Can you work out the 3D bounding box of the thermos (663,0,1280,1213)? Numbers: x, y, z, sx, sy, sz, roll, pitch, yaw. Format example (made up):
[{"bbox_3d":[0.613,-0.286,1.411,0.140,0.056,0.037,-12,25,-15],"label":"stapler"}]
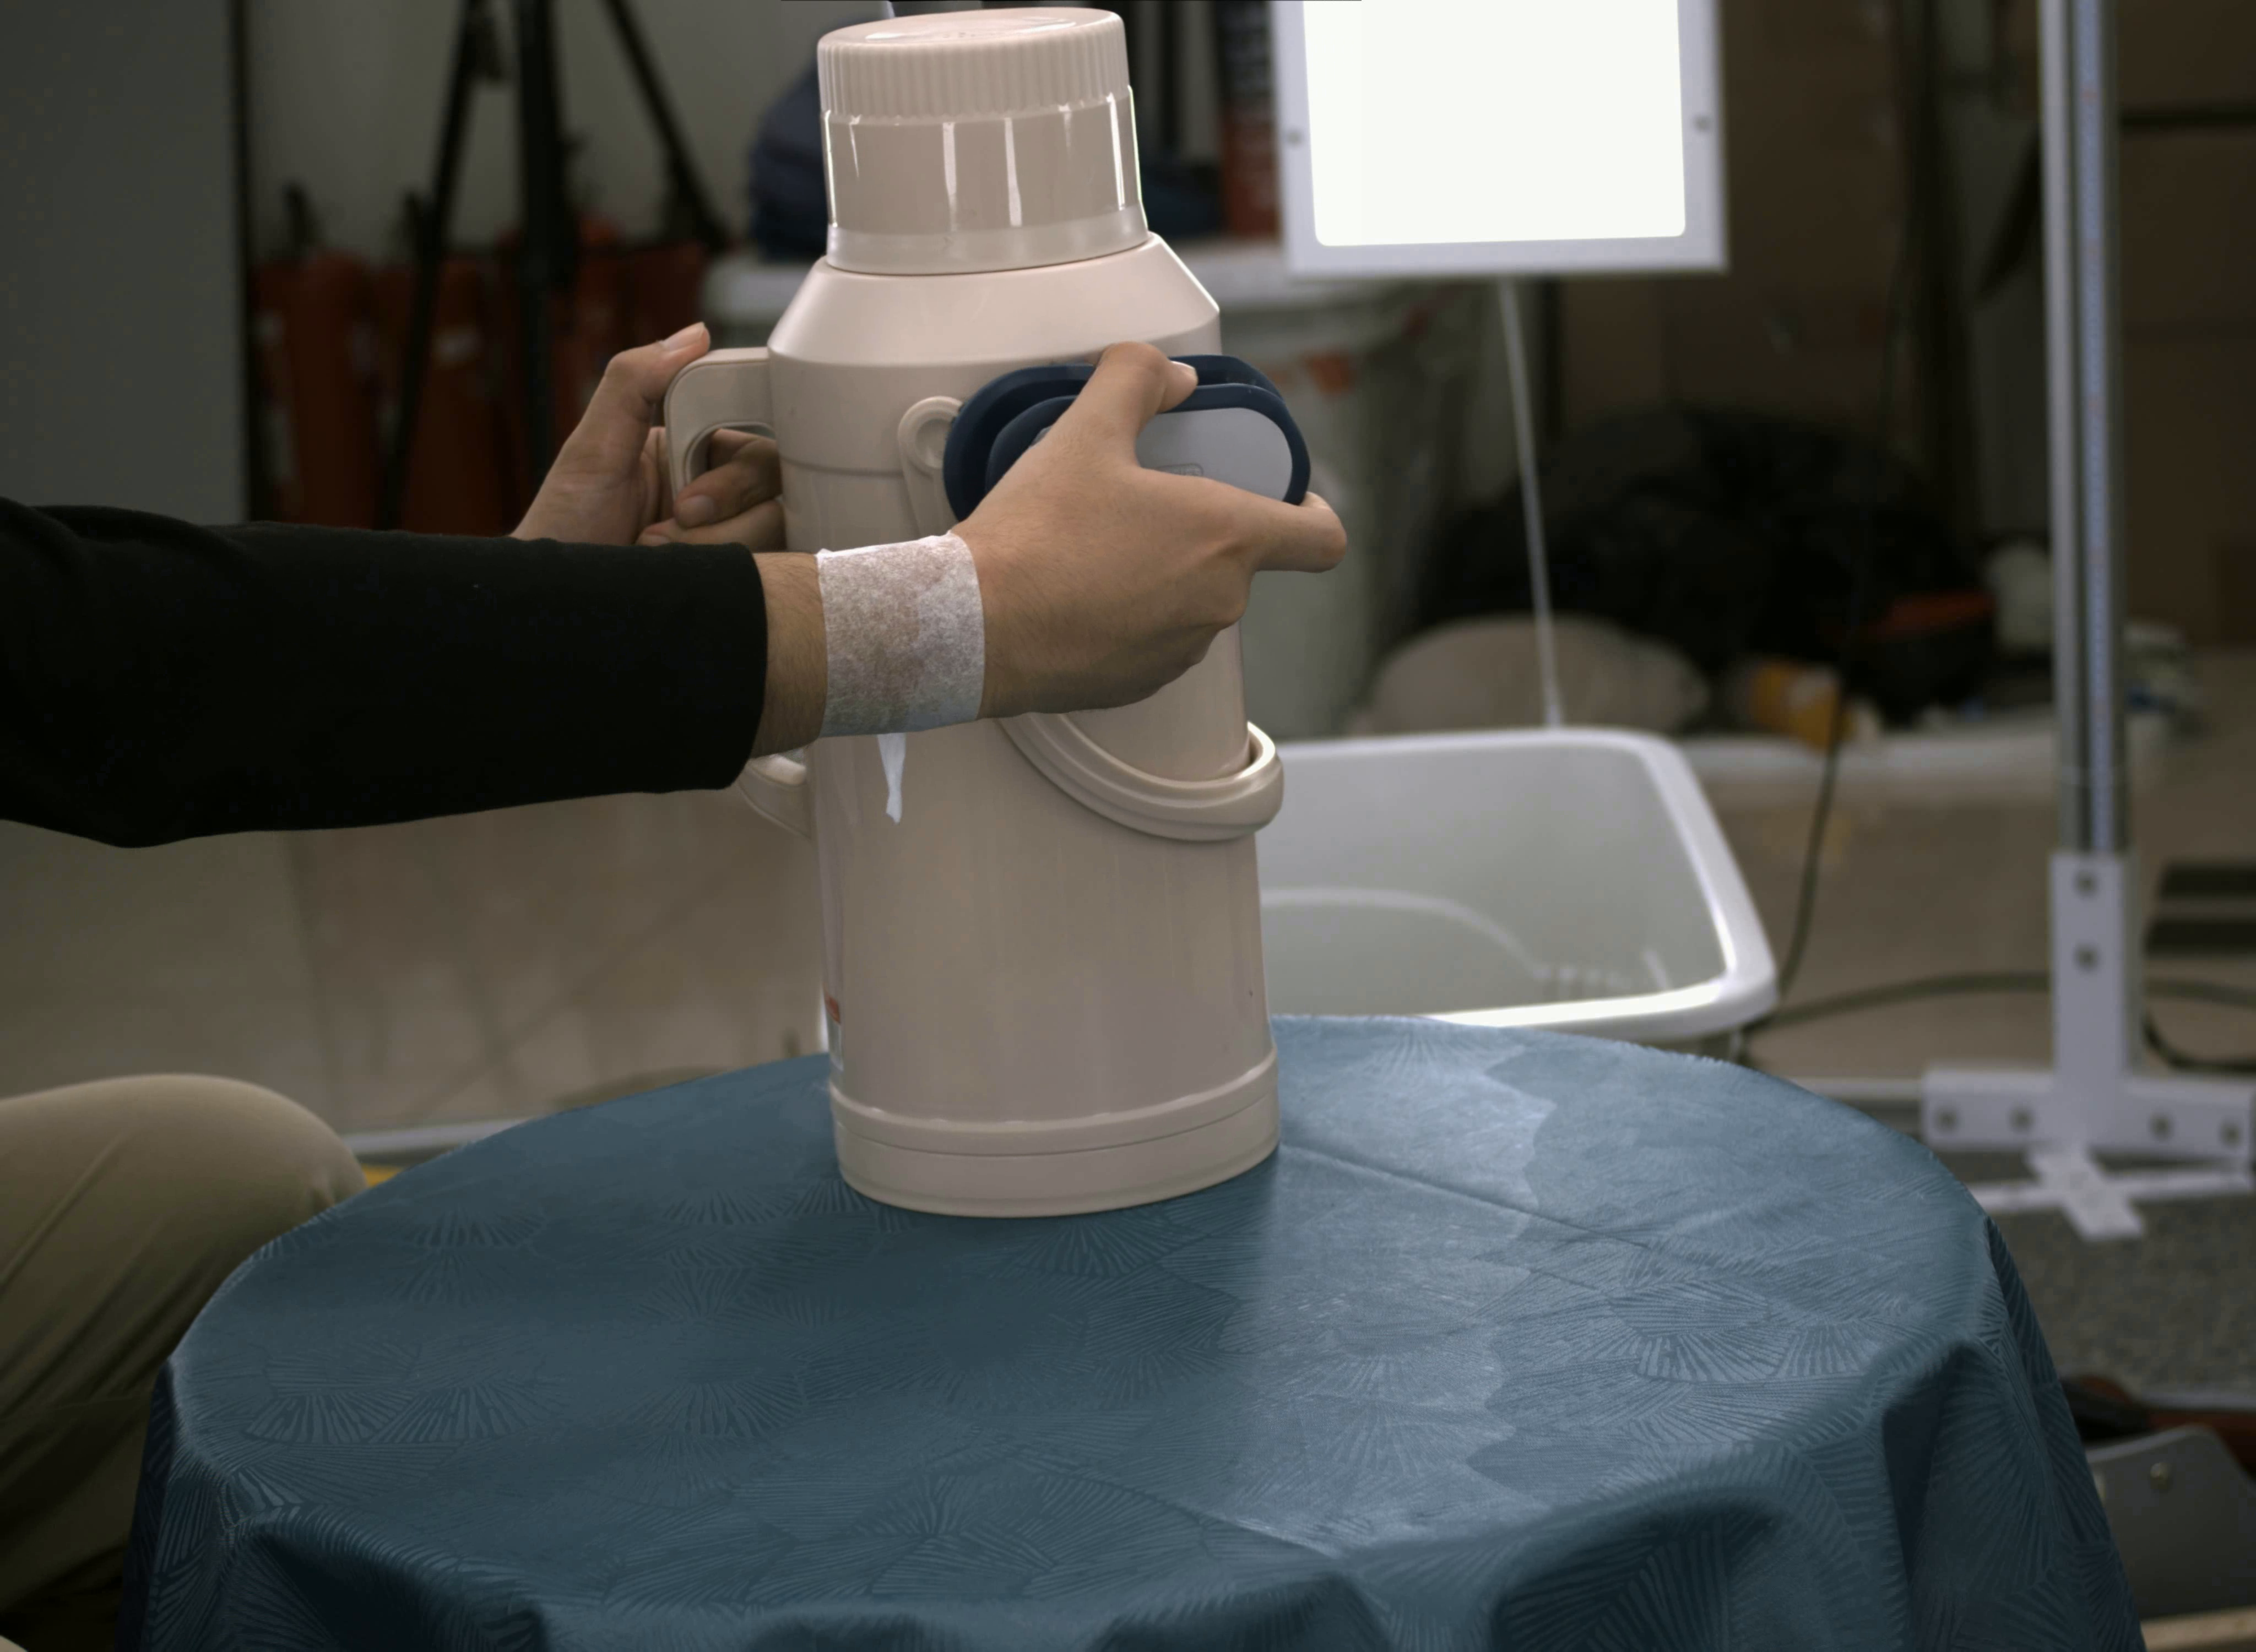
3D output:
[{"bbox_3d":[-0.053,-0.077,1.914,0.209,0.408,0.173,-1,16,13],"label":"thermos"}]

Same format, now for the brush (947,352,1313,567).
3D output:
[{"bbox_3d":[0.000,-0.120,1.799,0.120,0.068,0.062,-3,17,-16],"label":"brush"}]
